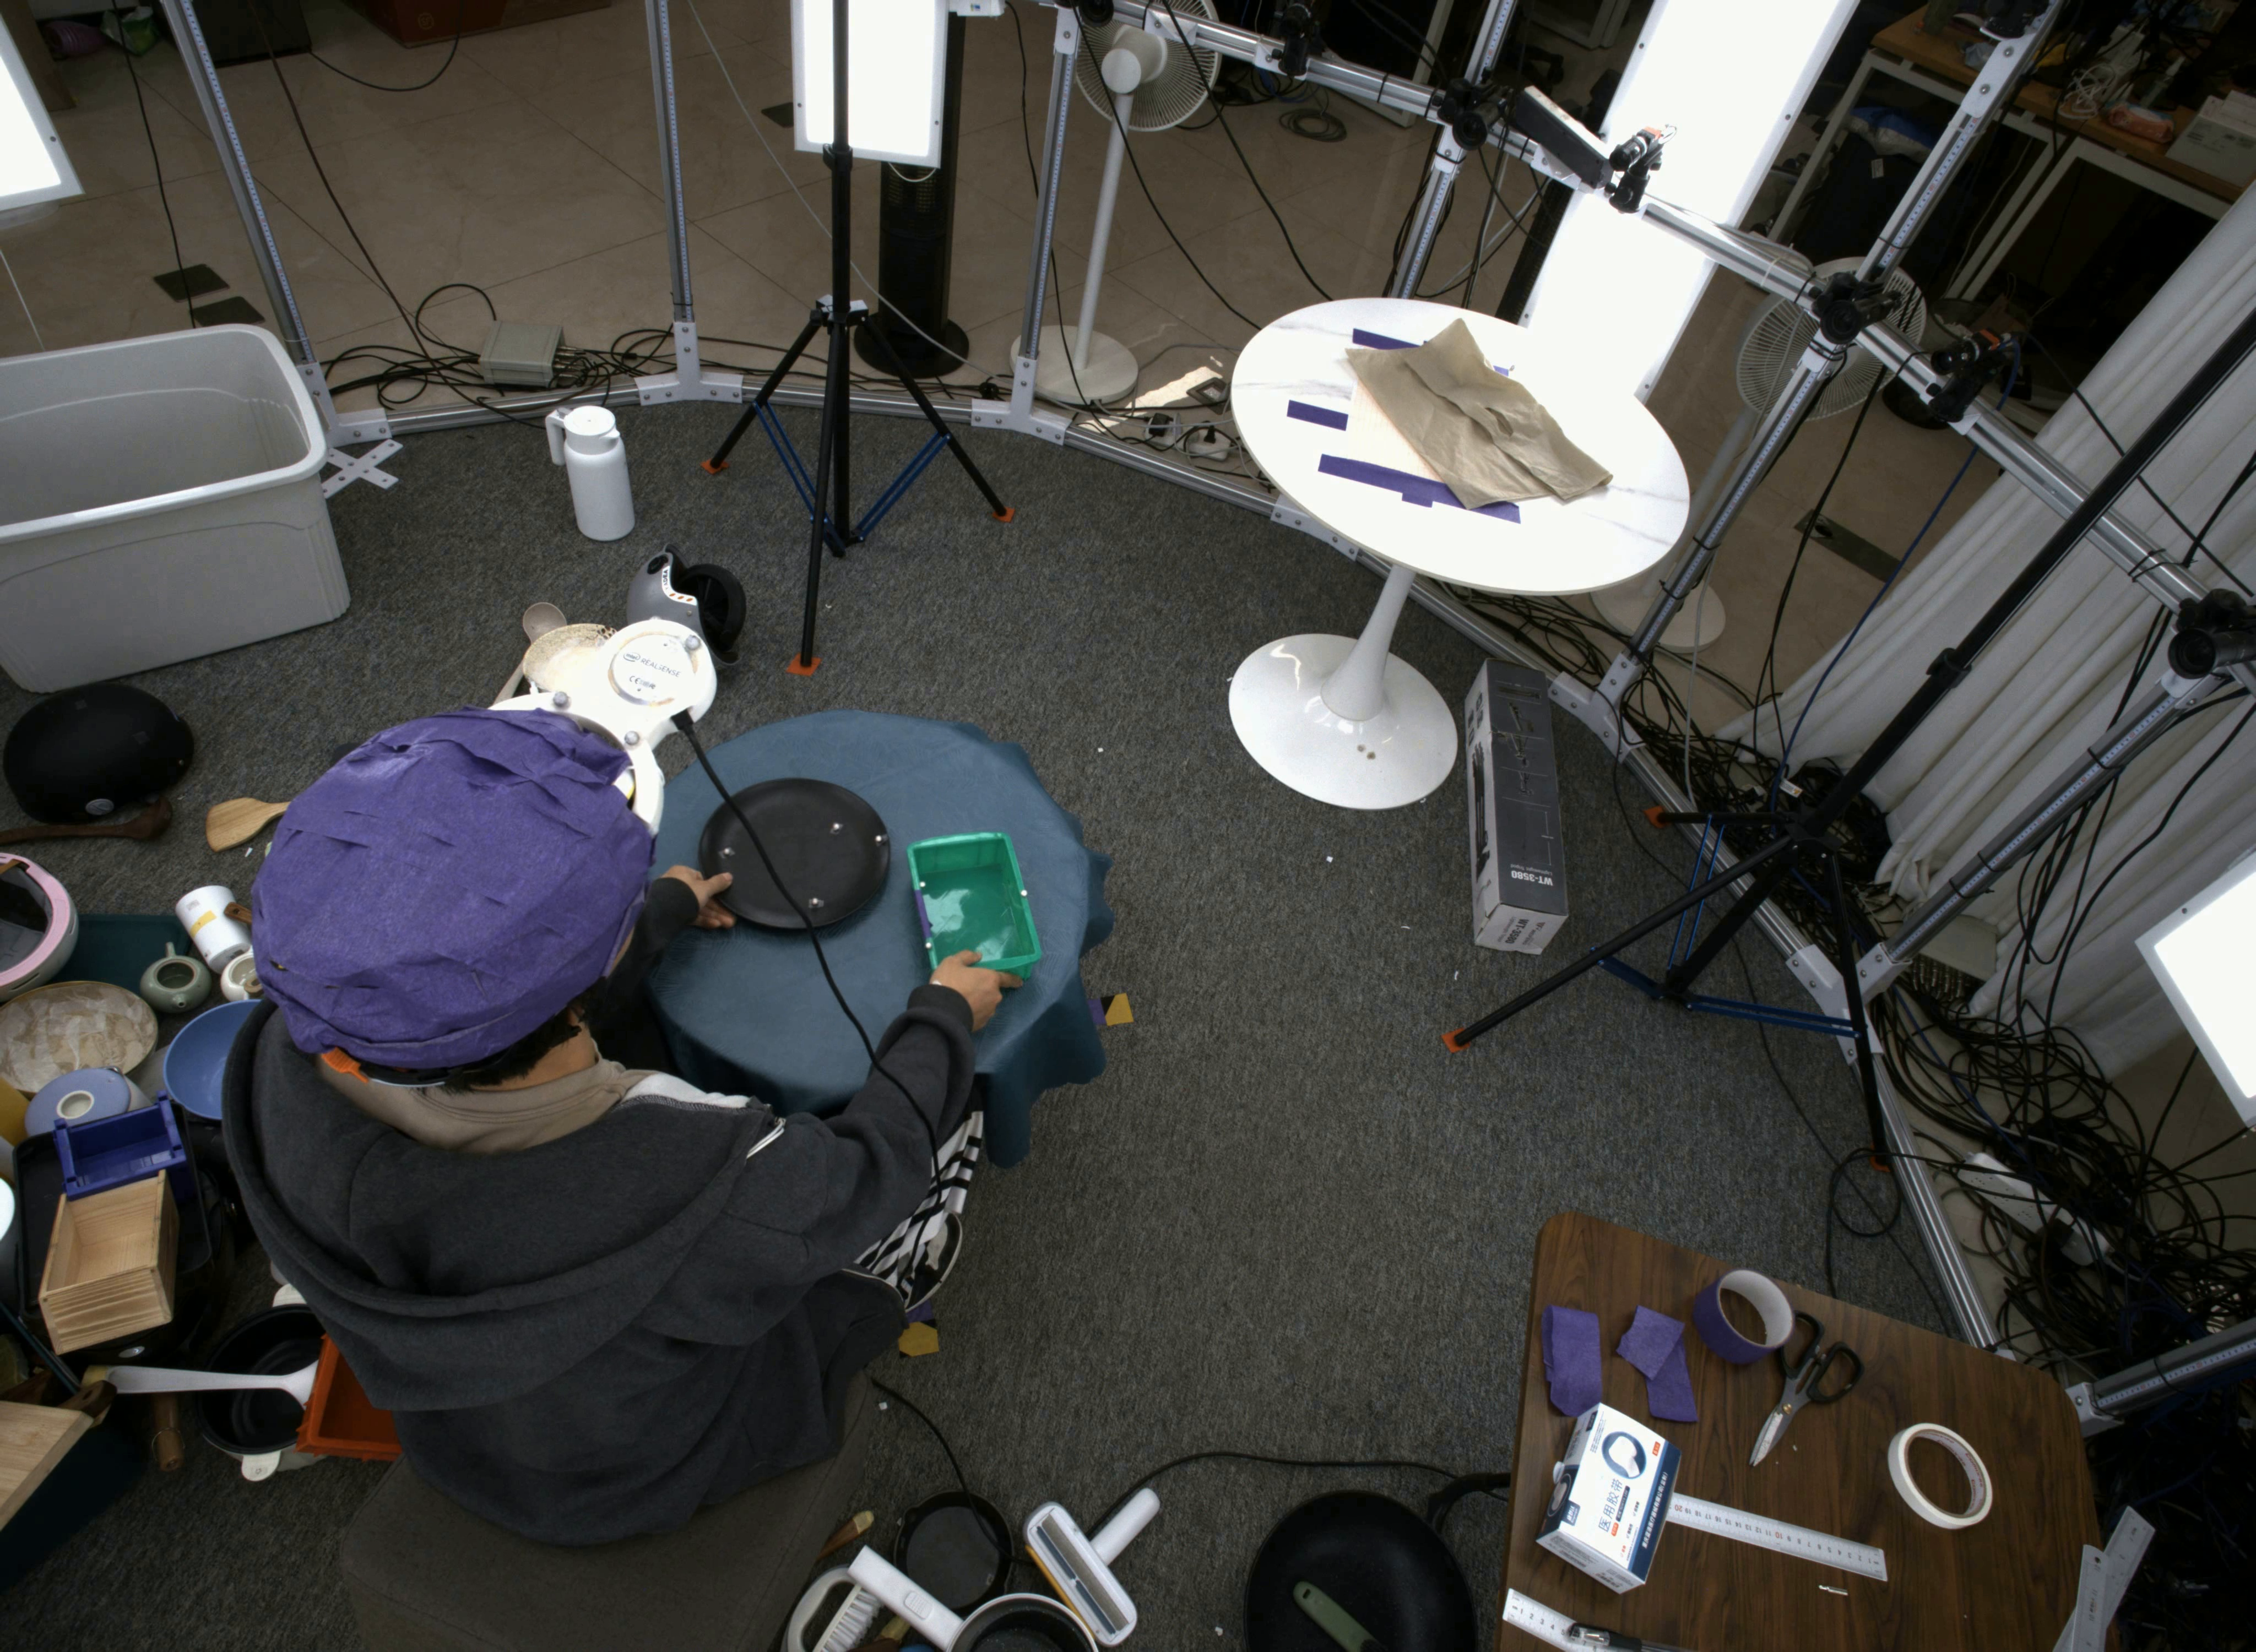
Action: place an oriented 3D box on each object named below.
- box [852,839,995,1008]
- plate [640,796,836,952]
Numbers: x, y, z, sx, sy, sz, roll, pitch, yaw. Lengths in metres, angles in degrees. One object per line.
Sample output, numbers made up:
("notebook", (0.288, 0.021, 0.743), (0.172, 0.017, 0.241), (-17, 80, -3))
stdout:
("box", (-0.259, 0.123, 1.638), (0.139, 0.066, 0.206), (-12, 60, -20))
("plate", (-0.496, 0.061, 1.648), (0.244, 0.024, 0.240), (9, 52, -9))
